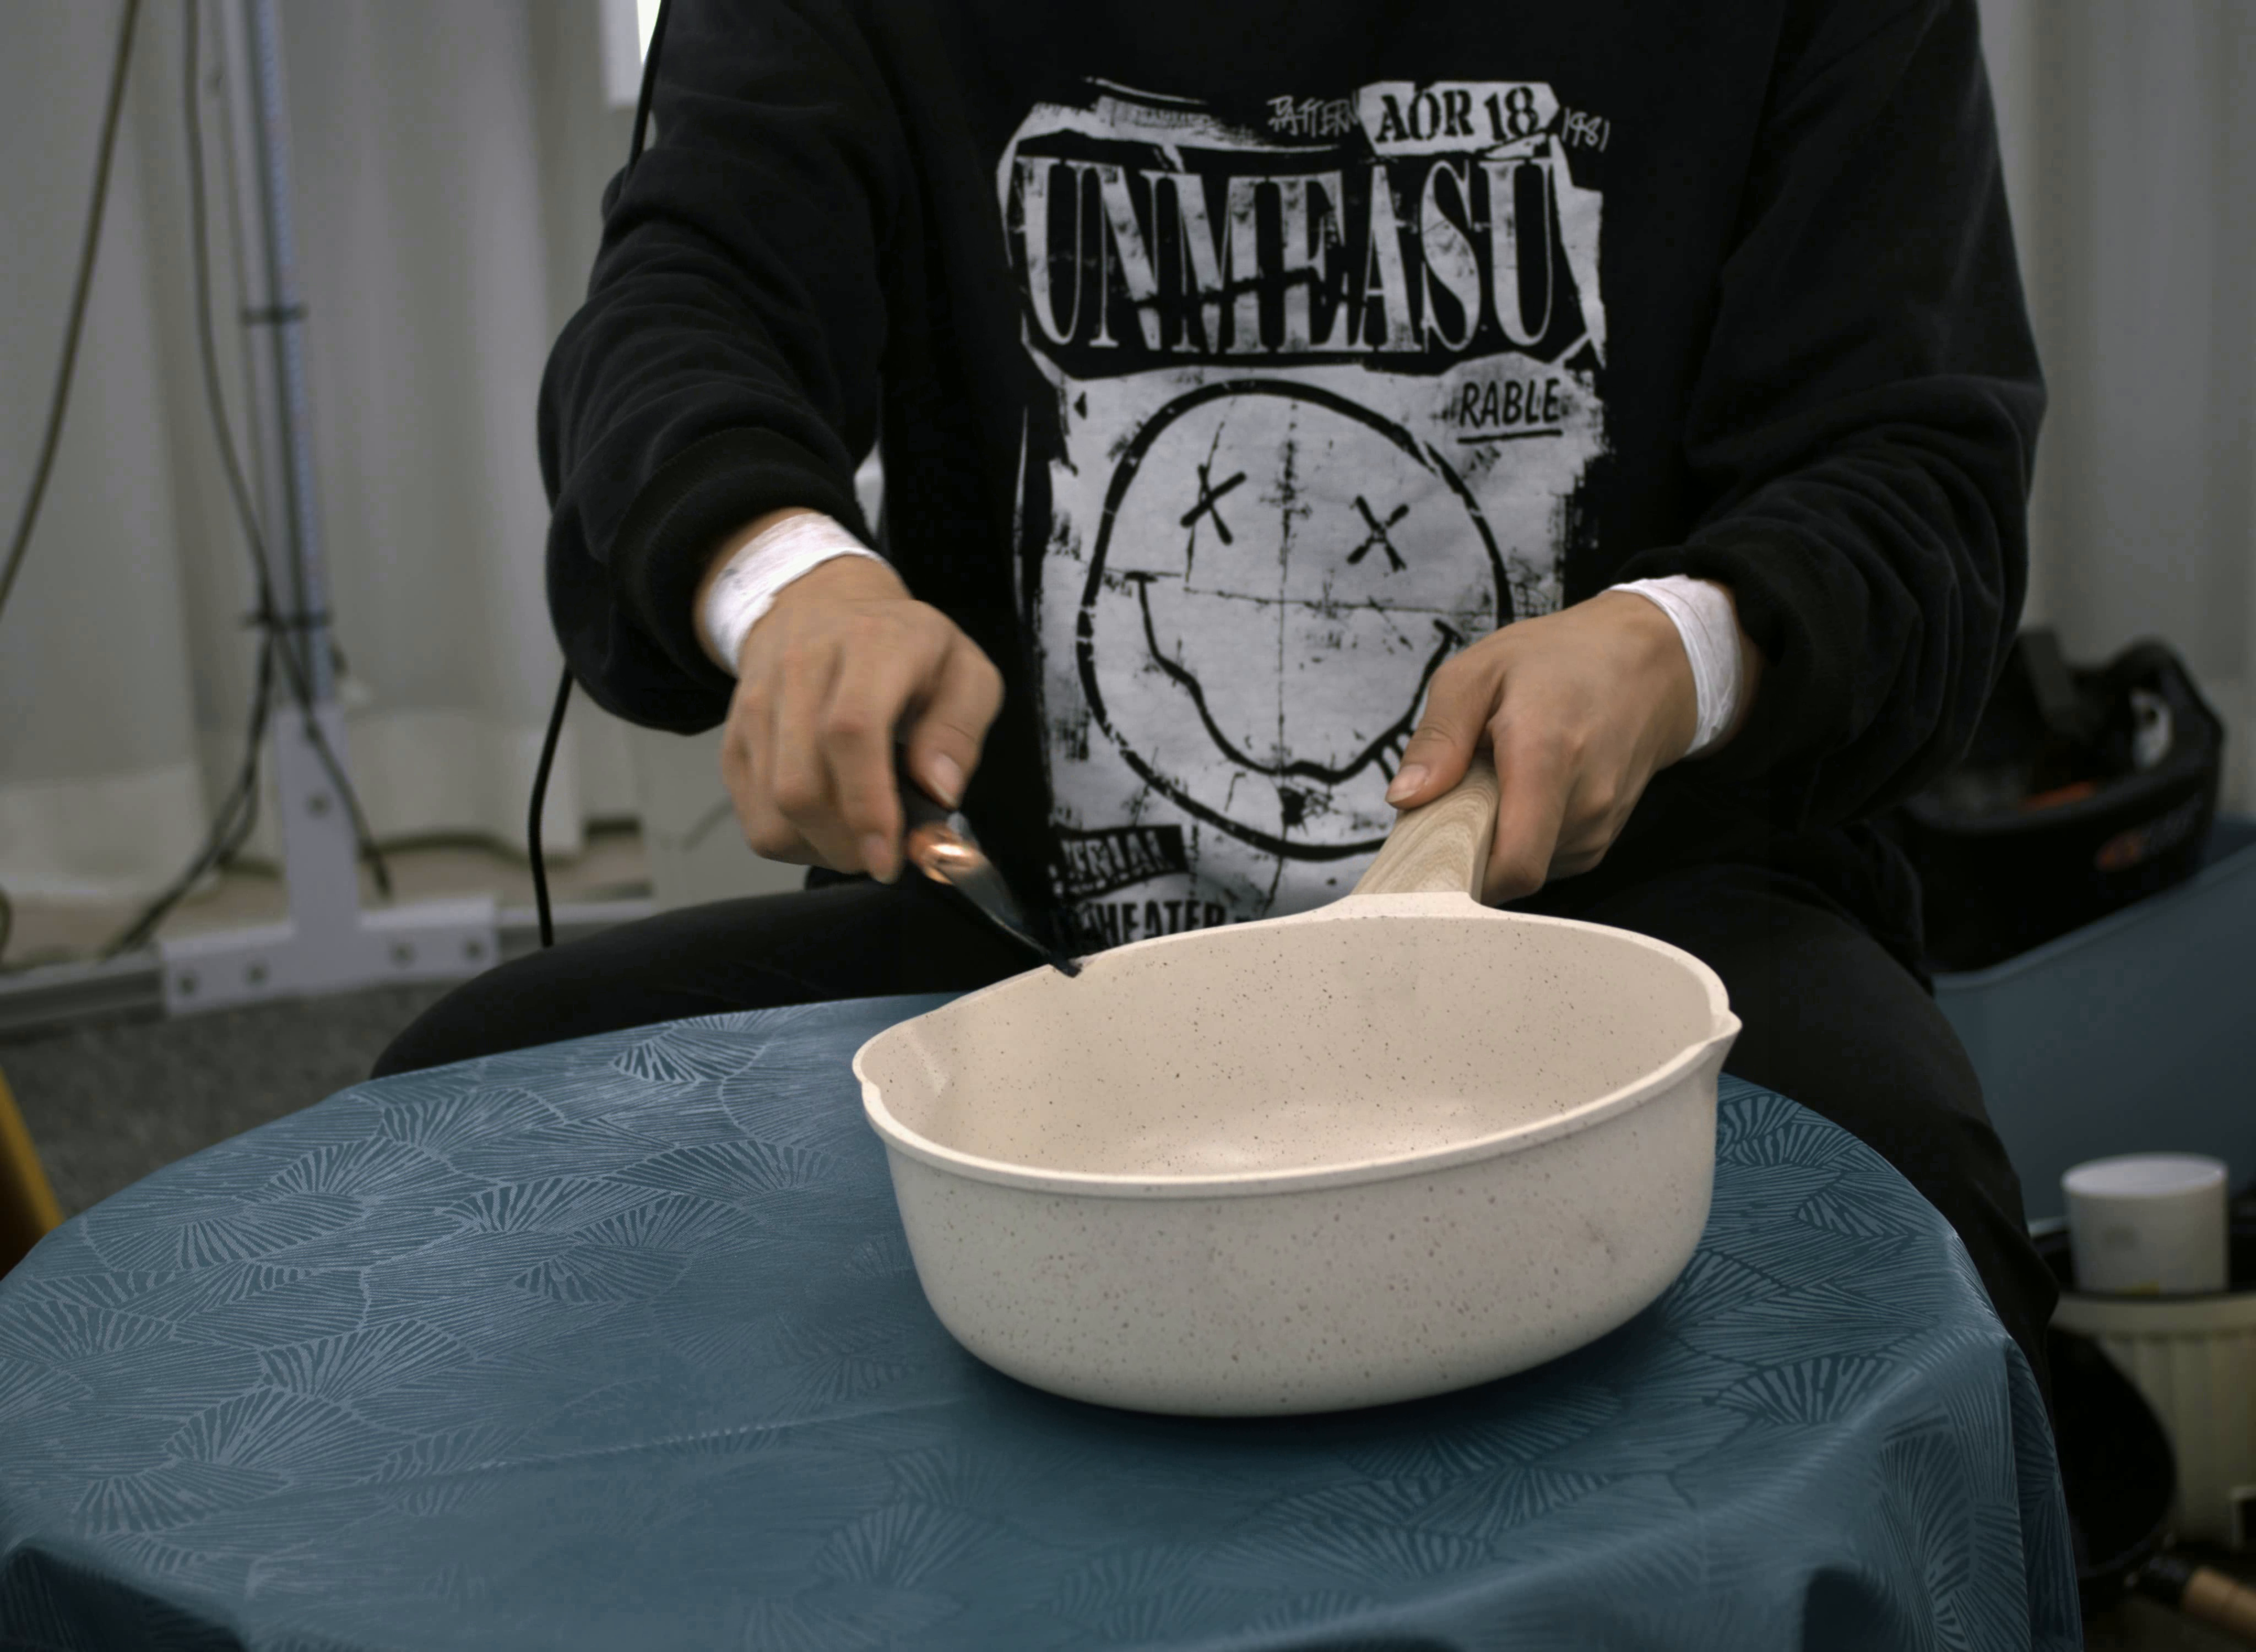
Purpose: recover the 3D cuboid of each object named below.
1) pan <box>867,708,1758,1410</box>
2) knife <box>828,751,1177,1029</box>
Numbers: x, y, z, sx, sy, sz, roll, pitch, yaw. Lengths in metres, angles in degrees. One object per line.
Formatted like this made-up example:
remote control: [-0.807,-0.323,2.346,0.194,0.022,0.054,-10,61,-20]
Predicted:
pan: [0.079,0.066,1.667,0.263,0.101,0.437,-4,14,17]
knife: [-0.040,0.018,1.622,0.026,0.017,0.228,18,10,-30]
